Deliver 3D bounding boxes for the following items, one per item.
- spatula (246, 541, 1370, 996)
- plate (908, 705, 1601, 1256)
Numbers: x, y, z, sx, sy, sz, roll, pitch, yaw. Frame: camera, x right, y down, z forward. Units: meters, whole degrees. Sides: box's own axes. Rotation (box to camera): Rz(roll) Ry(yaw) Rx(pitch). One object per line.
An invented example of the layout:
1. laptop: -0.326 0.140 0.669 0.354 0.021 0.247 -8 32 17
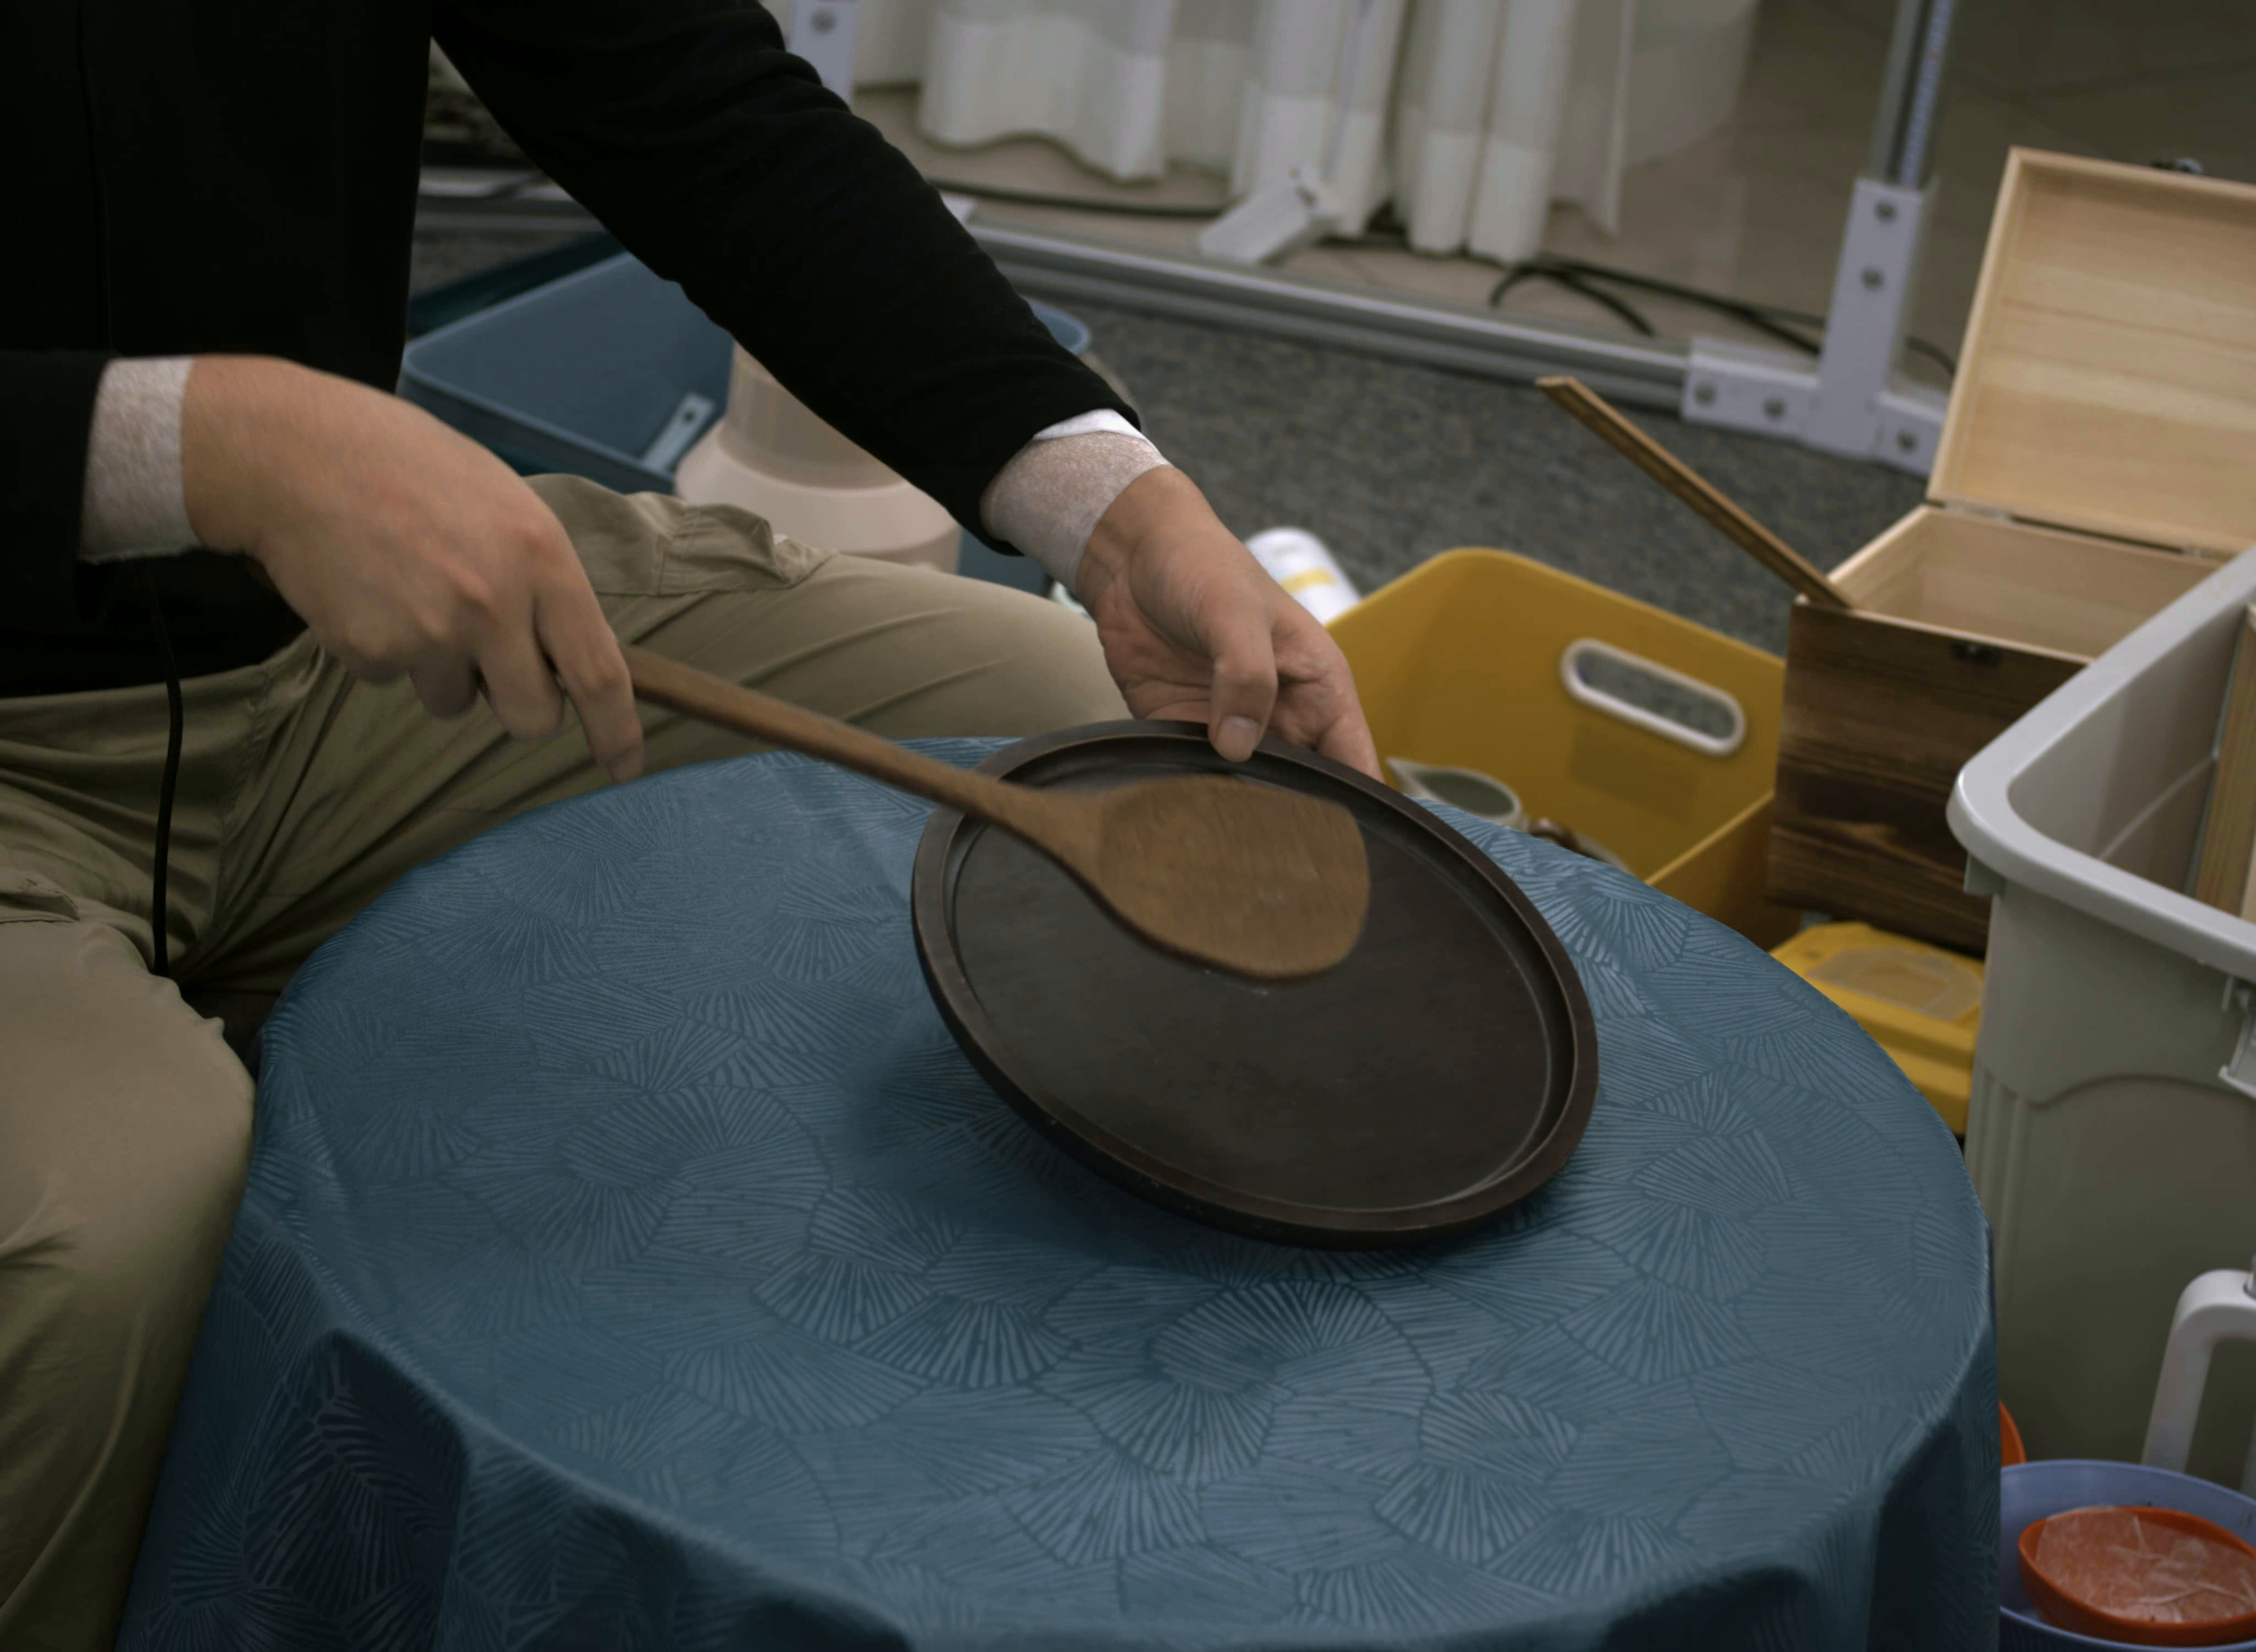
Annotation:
1. spatula: -0.104 -0.027 1.740 0.385 0.016 0.096 19 40 -2
2. plate: 0.043 0.055 1.849 0.253 0.029 0.257 12 40 -11
